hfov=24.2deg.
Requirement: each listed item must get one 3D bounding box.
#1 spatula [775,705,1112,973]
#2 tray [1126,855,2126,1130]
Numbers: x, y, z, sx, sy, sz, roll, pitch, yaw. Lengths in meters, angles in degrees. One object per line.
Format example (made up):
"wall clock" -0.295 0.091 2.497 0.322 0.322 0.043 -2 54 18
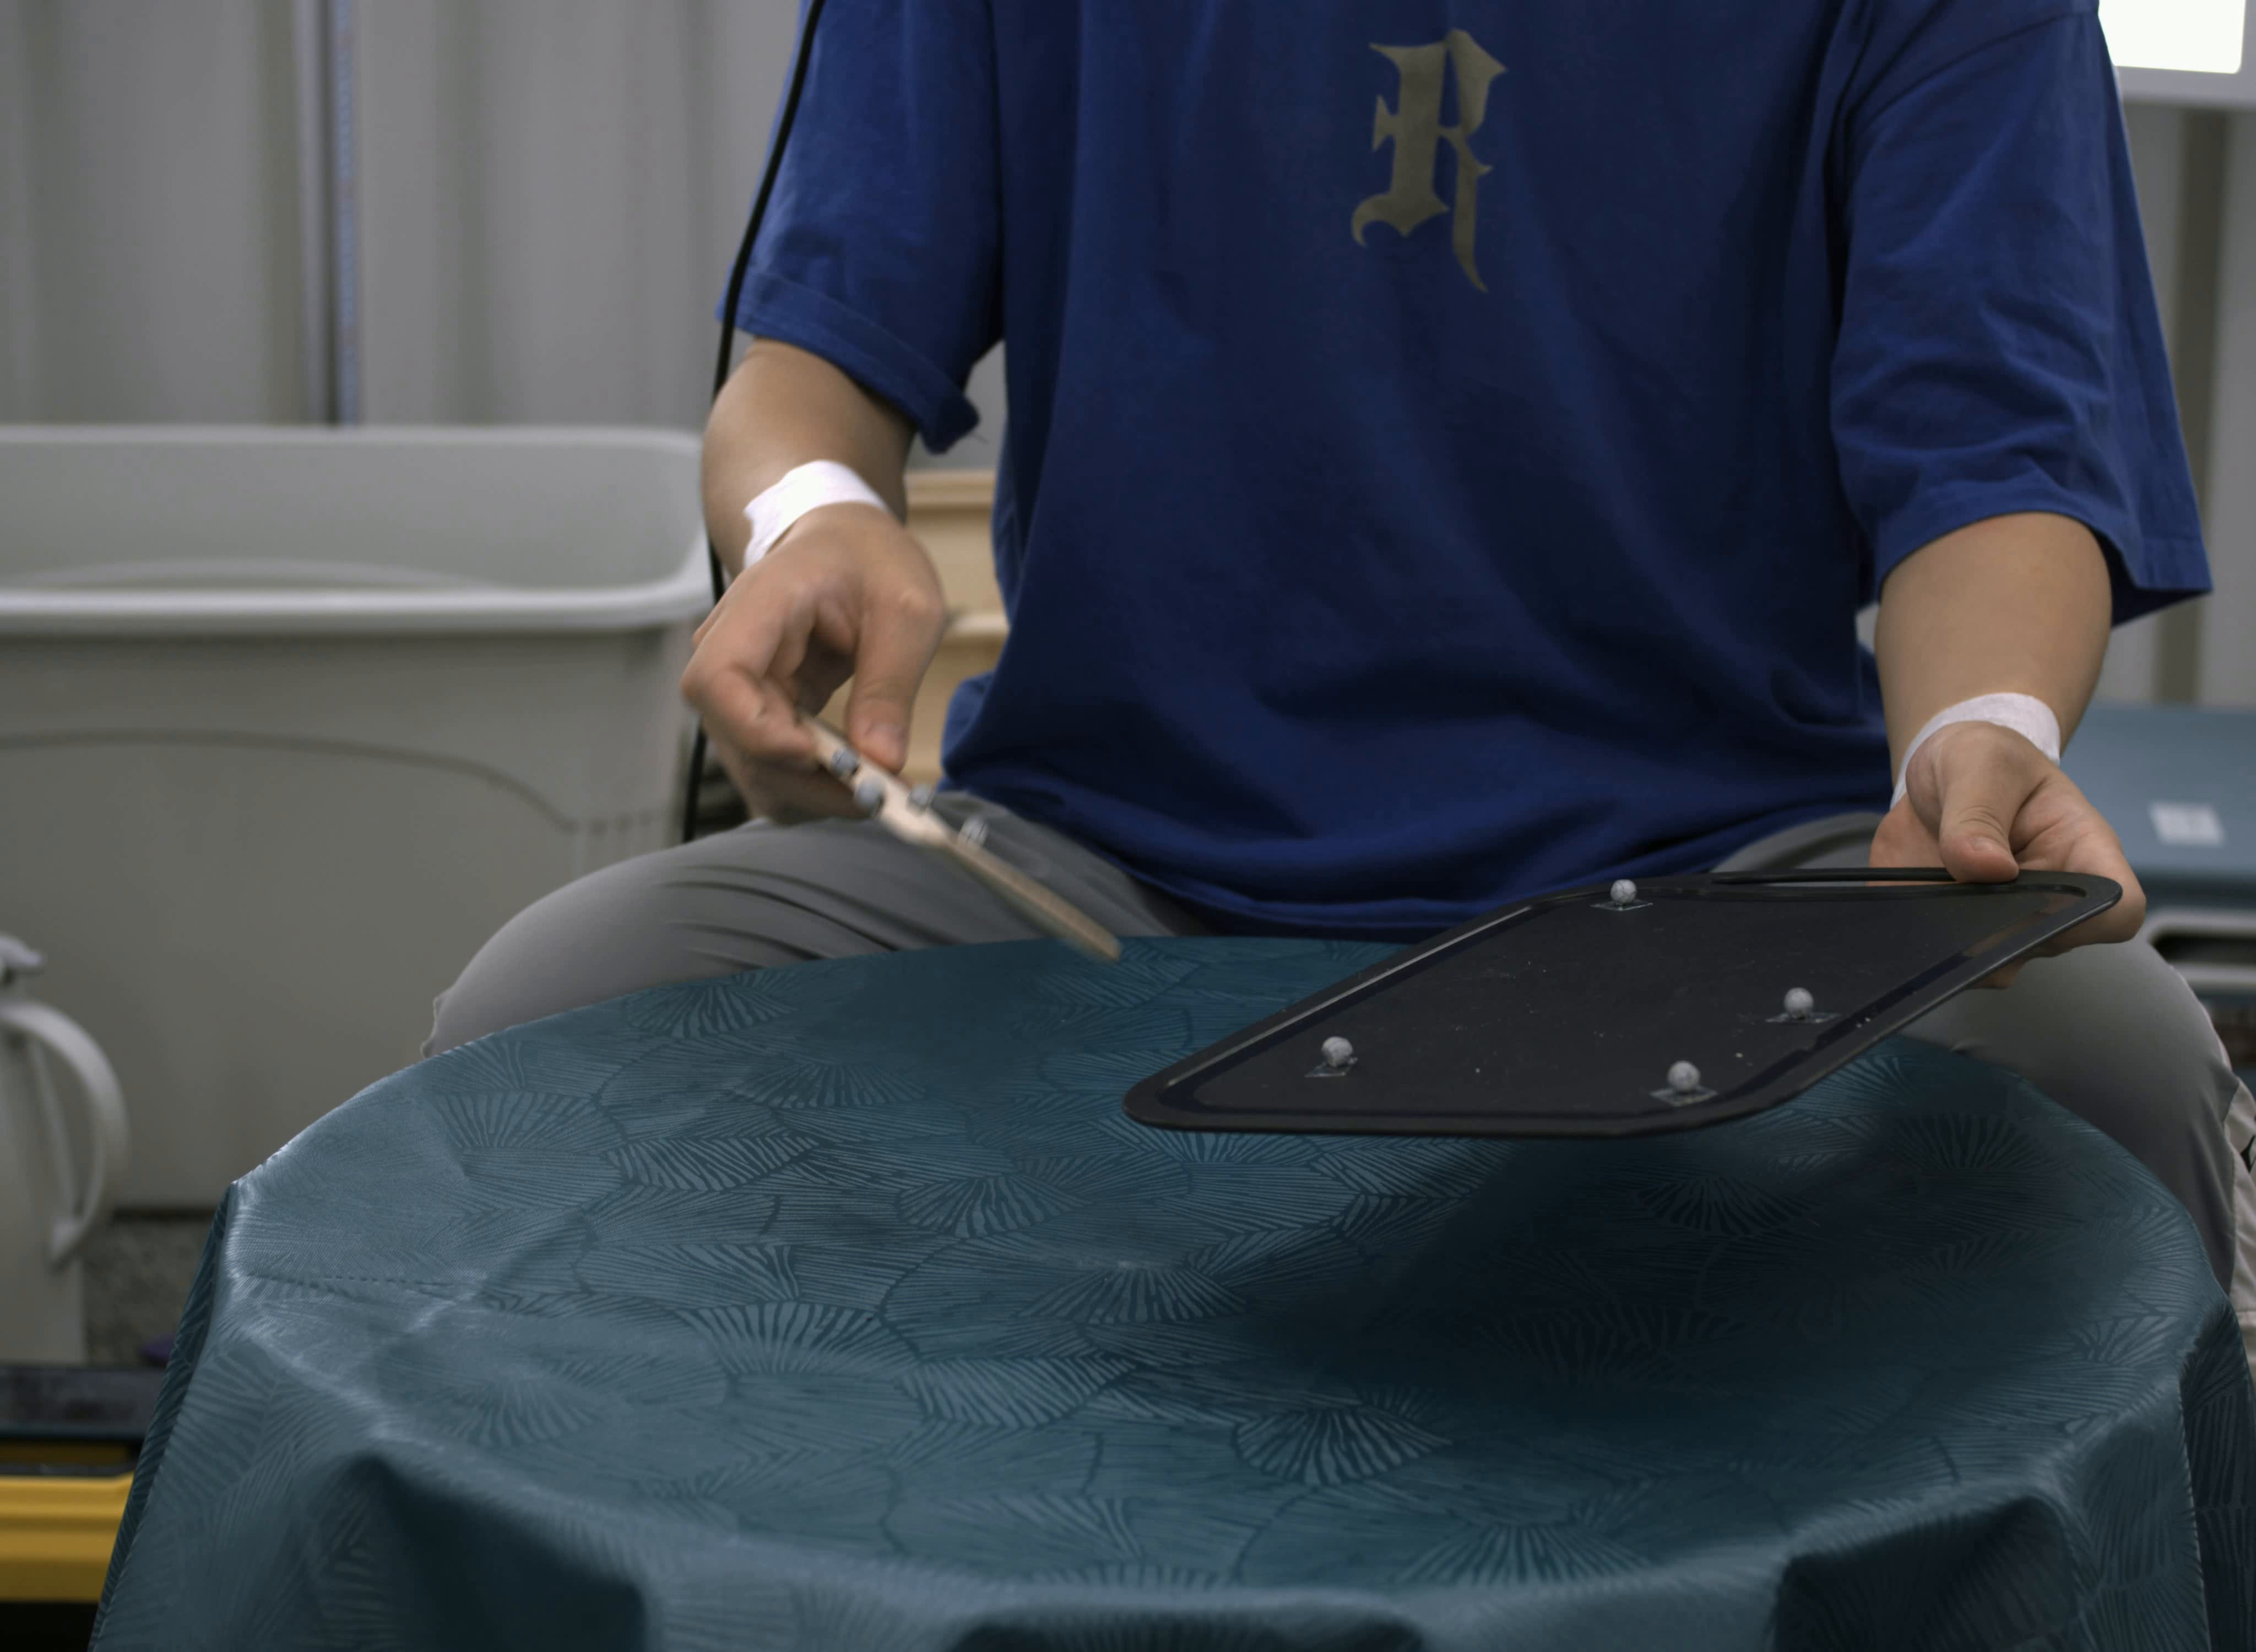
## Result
"spatula" -0.072 -0.004 1.651 0.073 0.010 0.290 33 2 -20
"tray" 0.154 0.044 1.550 0.209 0.010 0.326 -1 12 34
